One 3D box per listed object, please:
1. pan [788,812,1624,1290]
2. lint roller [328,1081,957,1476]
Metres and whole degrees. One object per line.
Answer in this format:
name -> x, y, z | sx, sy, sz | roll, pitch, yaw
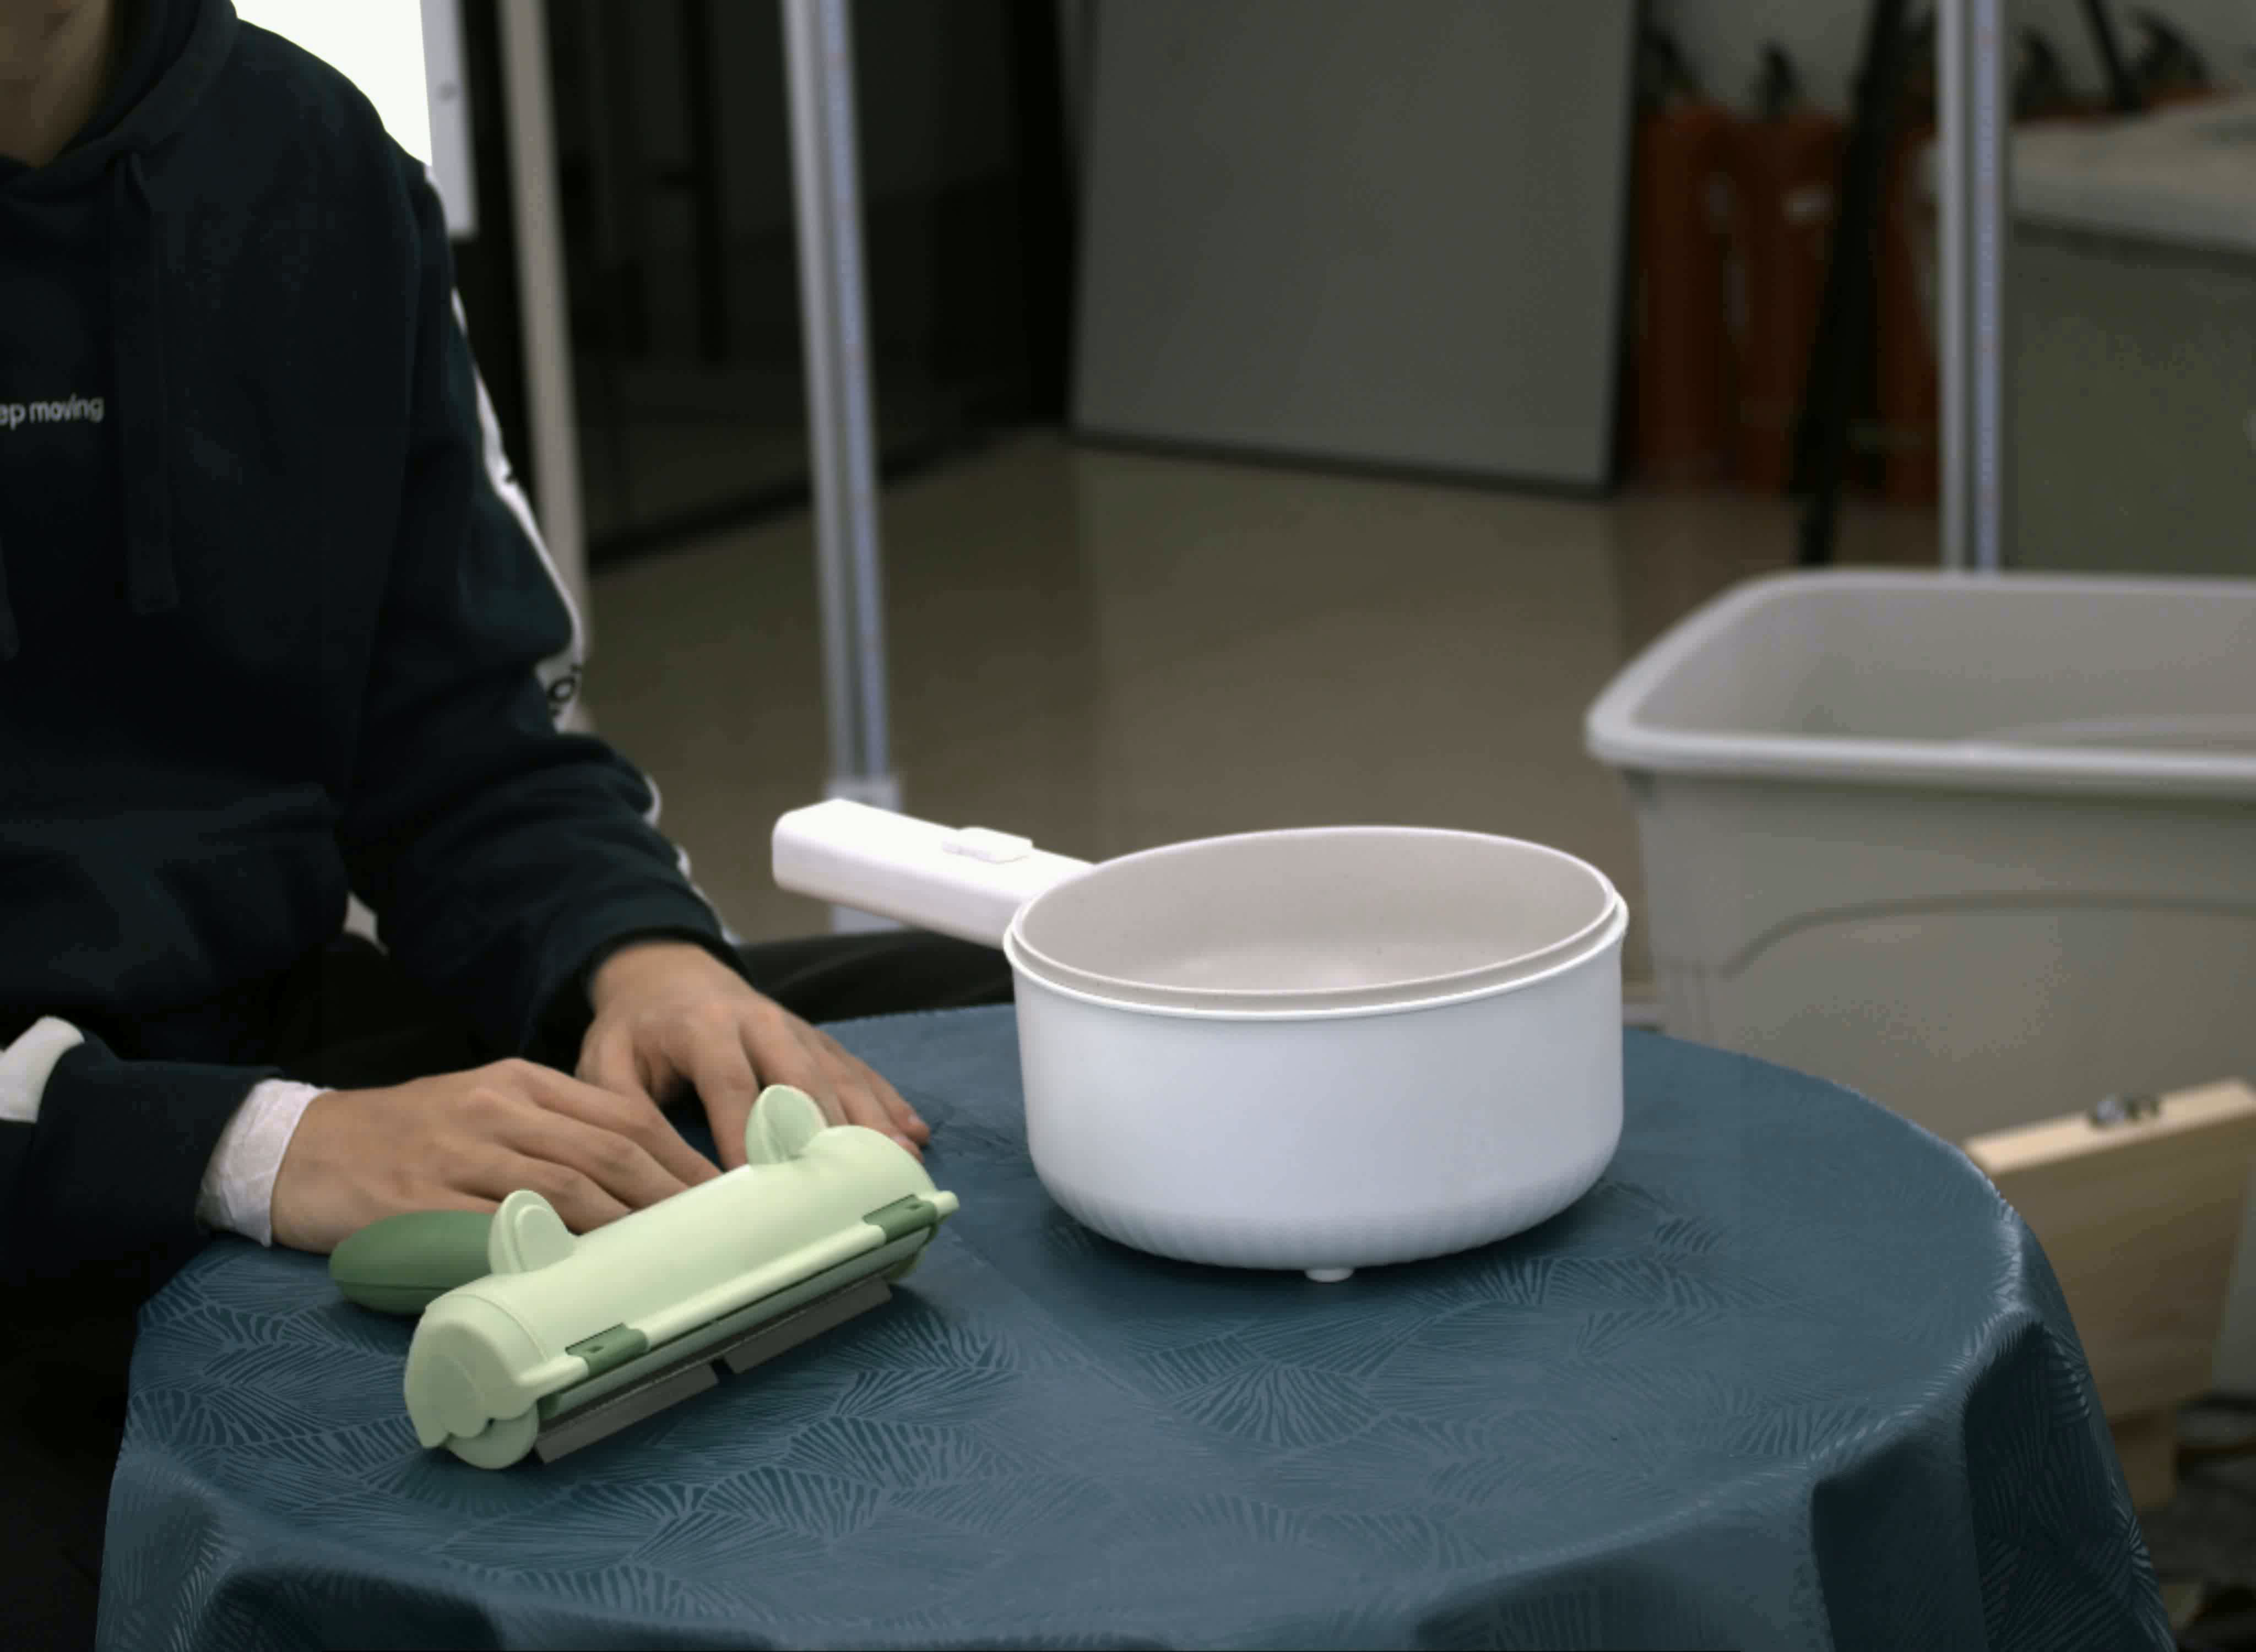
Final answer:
pan -> 0.012, 0.066, 1.791 | 0.197, 0.103, 0.358 | -17, 18, -39
lint roller -> -0.178, 0.123, 1.656 | 0.184, 0.083, 0.195 | 14, 22, 36
